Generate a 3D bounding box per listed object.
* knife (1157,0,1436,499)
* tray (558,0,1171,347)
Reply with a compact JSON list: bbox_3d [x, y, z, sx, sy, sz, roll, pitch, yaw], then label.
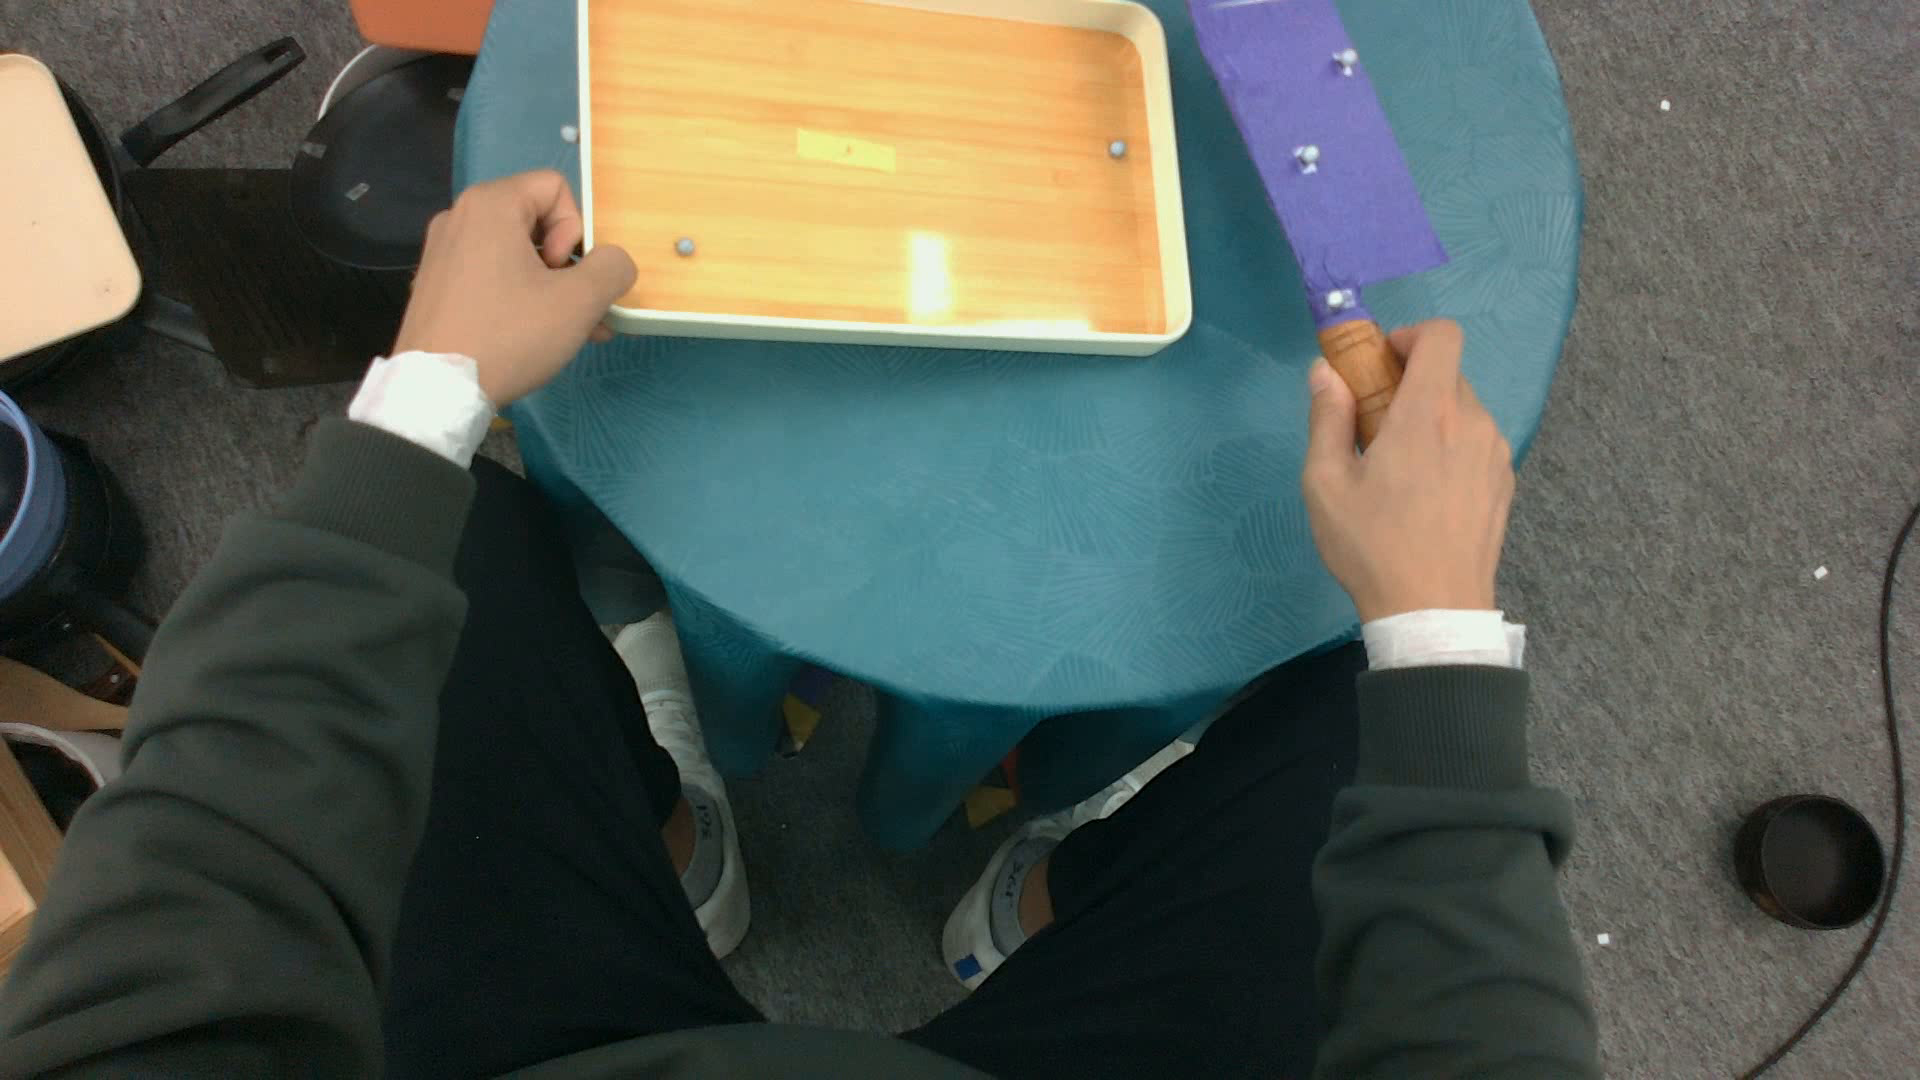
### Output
[{"bbox_3d":[0.169,-0.176,0.654,0.104,0.032,0.315,-19,84,-28],"label":"knife"},{"bbox_3d":[-0.042,-0.194,0.682,0.301,0.027,0.192,0,78,-20],"label":"tray"}]
